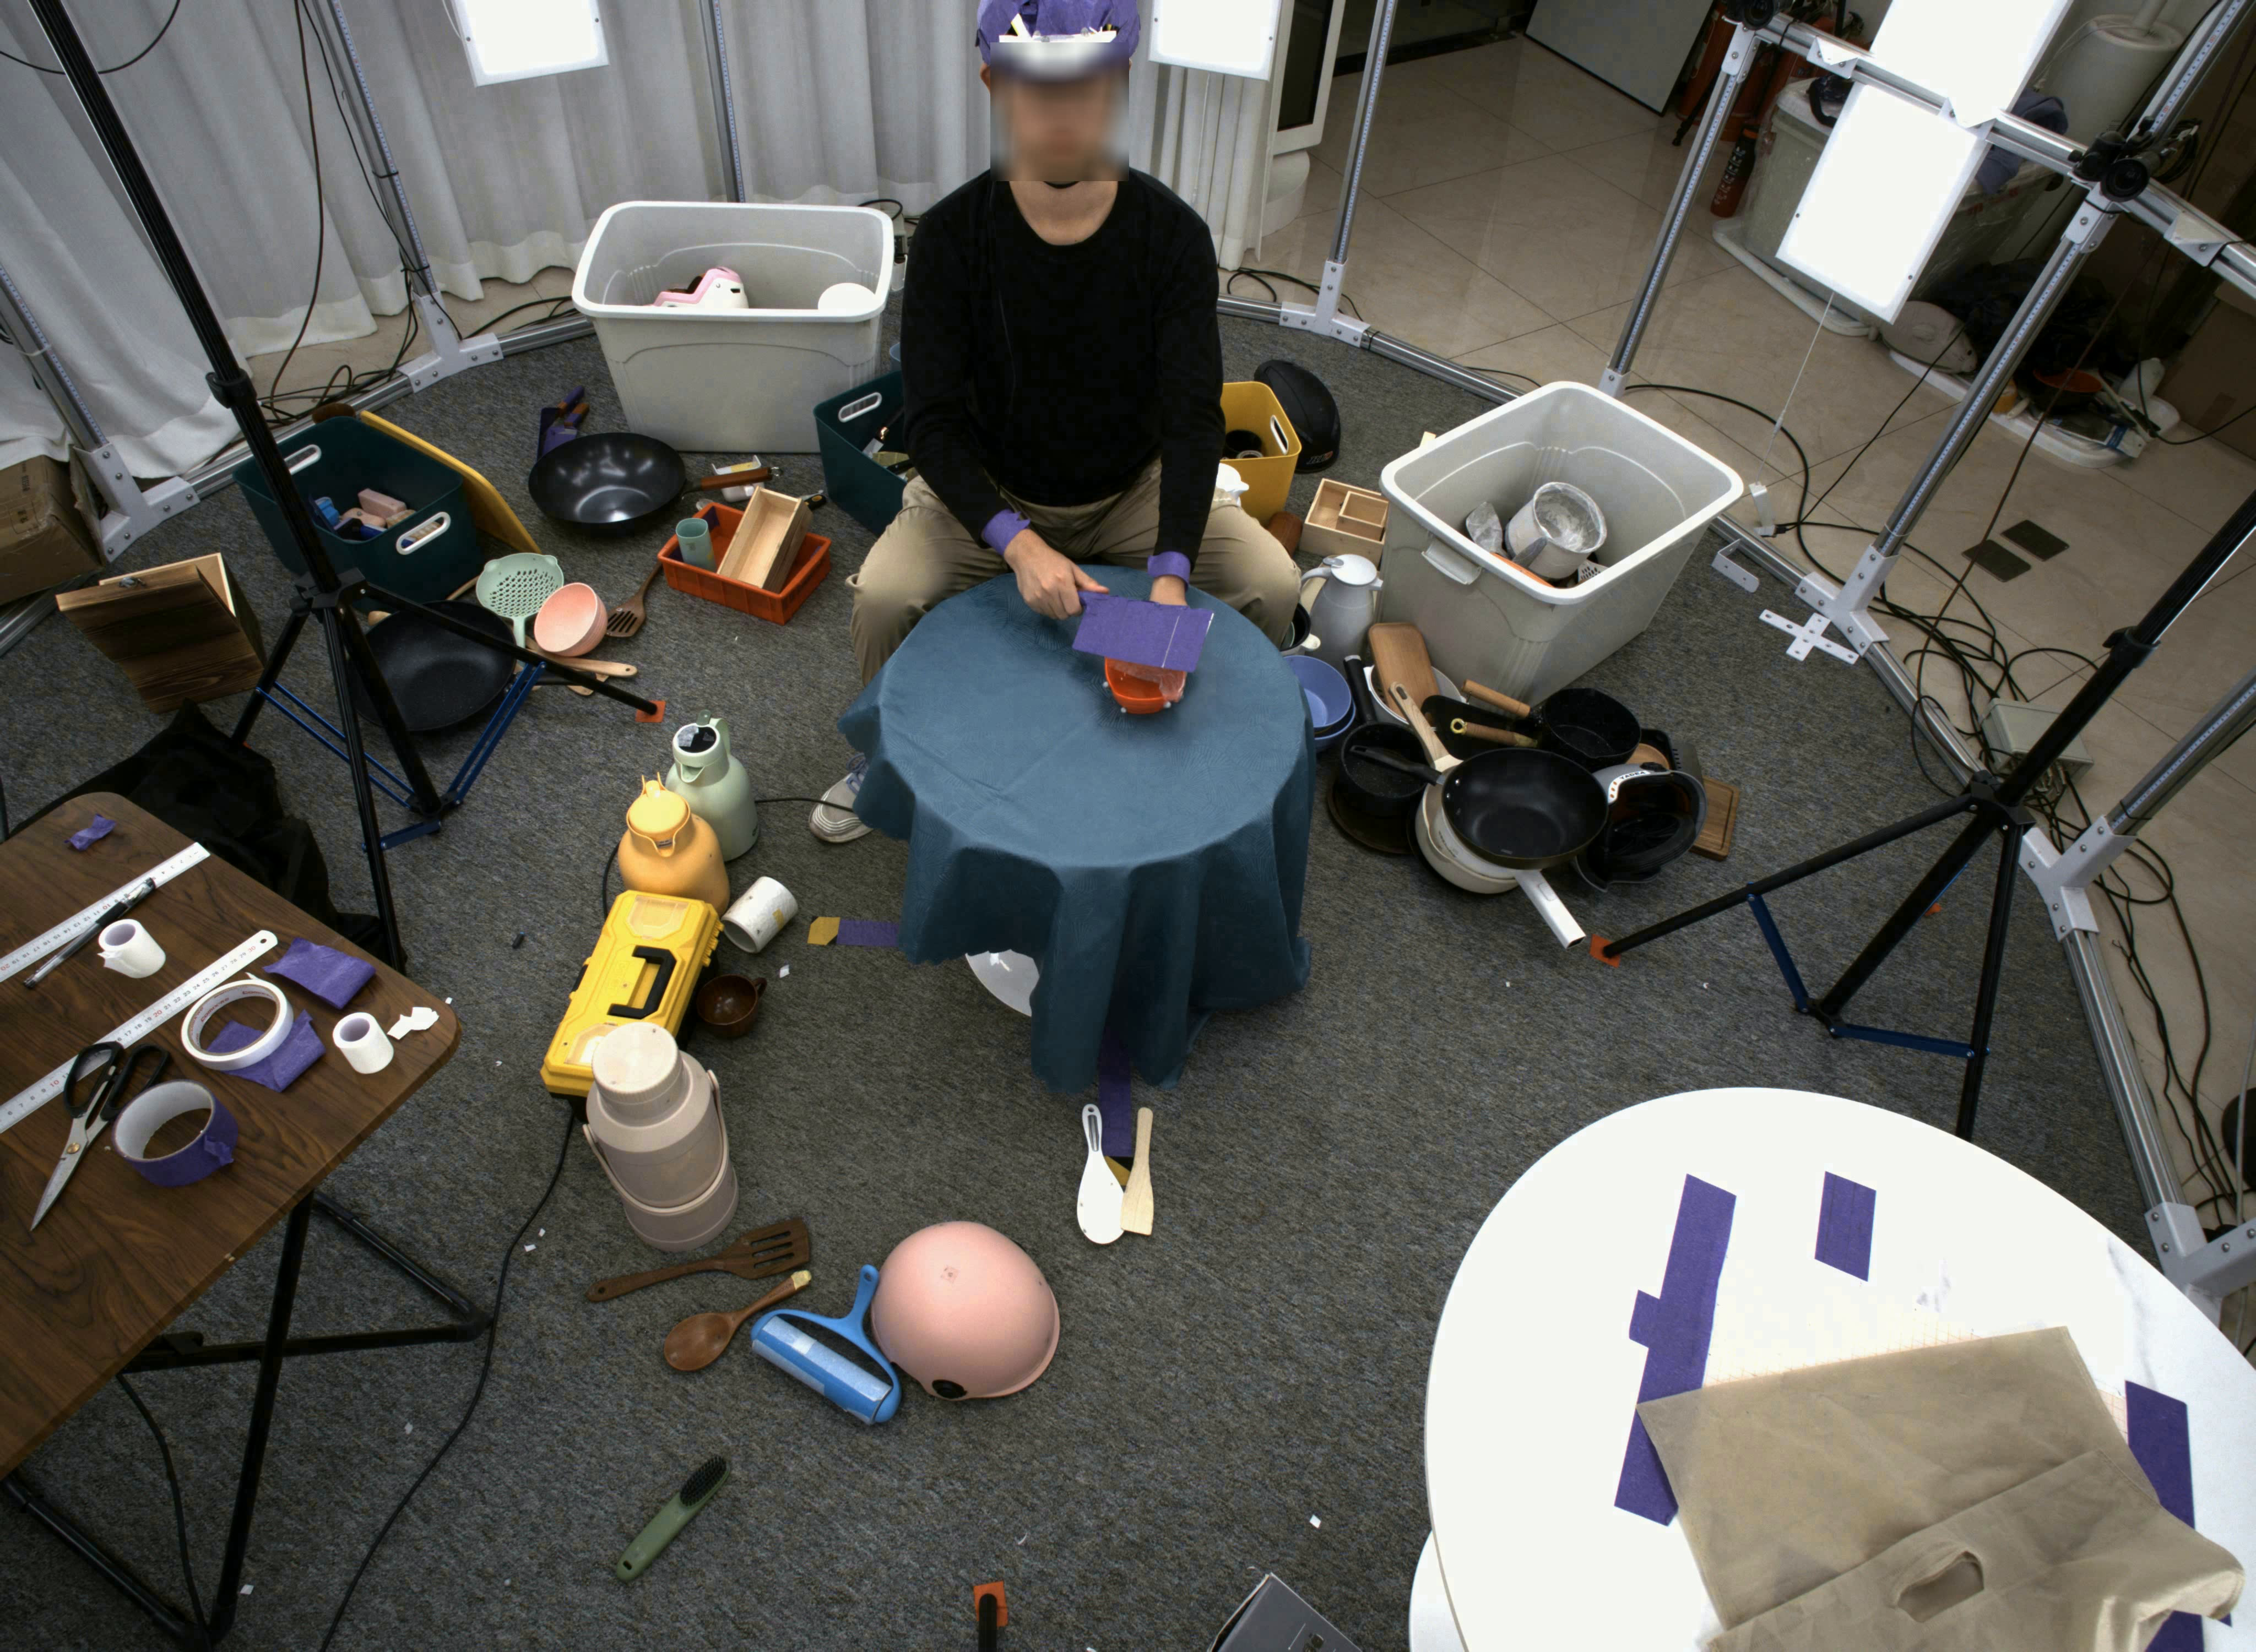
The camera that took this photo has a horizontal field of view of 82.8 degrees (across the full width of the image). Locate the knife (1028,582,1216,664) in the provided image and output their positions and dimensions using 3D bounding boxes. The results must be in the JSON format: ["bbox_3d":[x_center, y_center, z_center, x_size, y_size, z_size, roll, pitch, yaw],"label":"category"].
[{"bbox_3d":[-0.024,-0.288,1.820,0.318,0.031,0.104,14,79,35],"label":"knife"}]

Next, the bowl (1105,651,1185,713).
[{"bbox_3d":[0.023,-0.202,1.809,0.119,0.050,0.122,2,51,-2],"label":"bowl"}]
